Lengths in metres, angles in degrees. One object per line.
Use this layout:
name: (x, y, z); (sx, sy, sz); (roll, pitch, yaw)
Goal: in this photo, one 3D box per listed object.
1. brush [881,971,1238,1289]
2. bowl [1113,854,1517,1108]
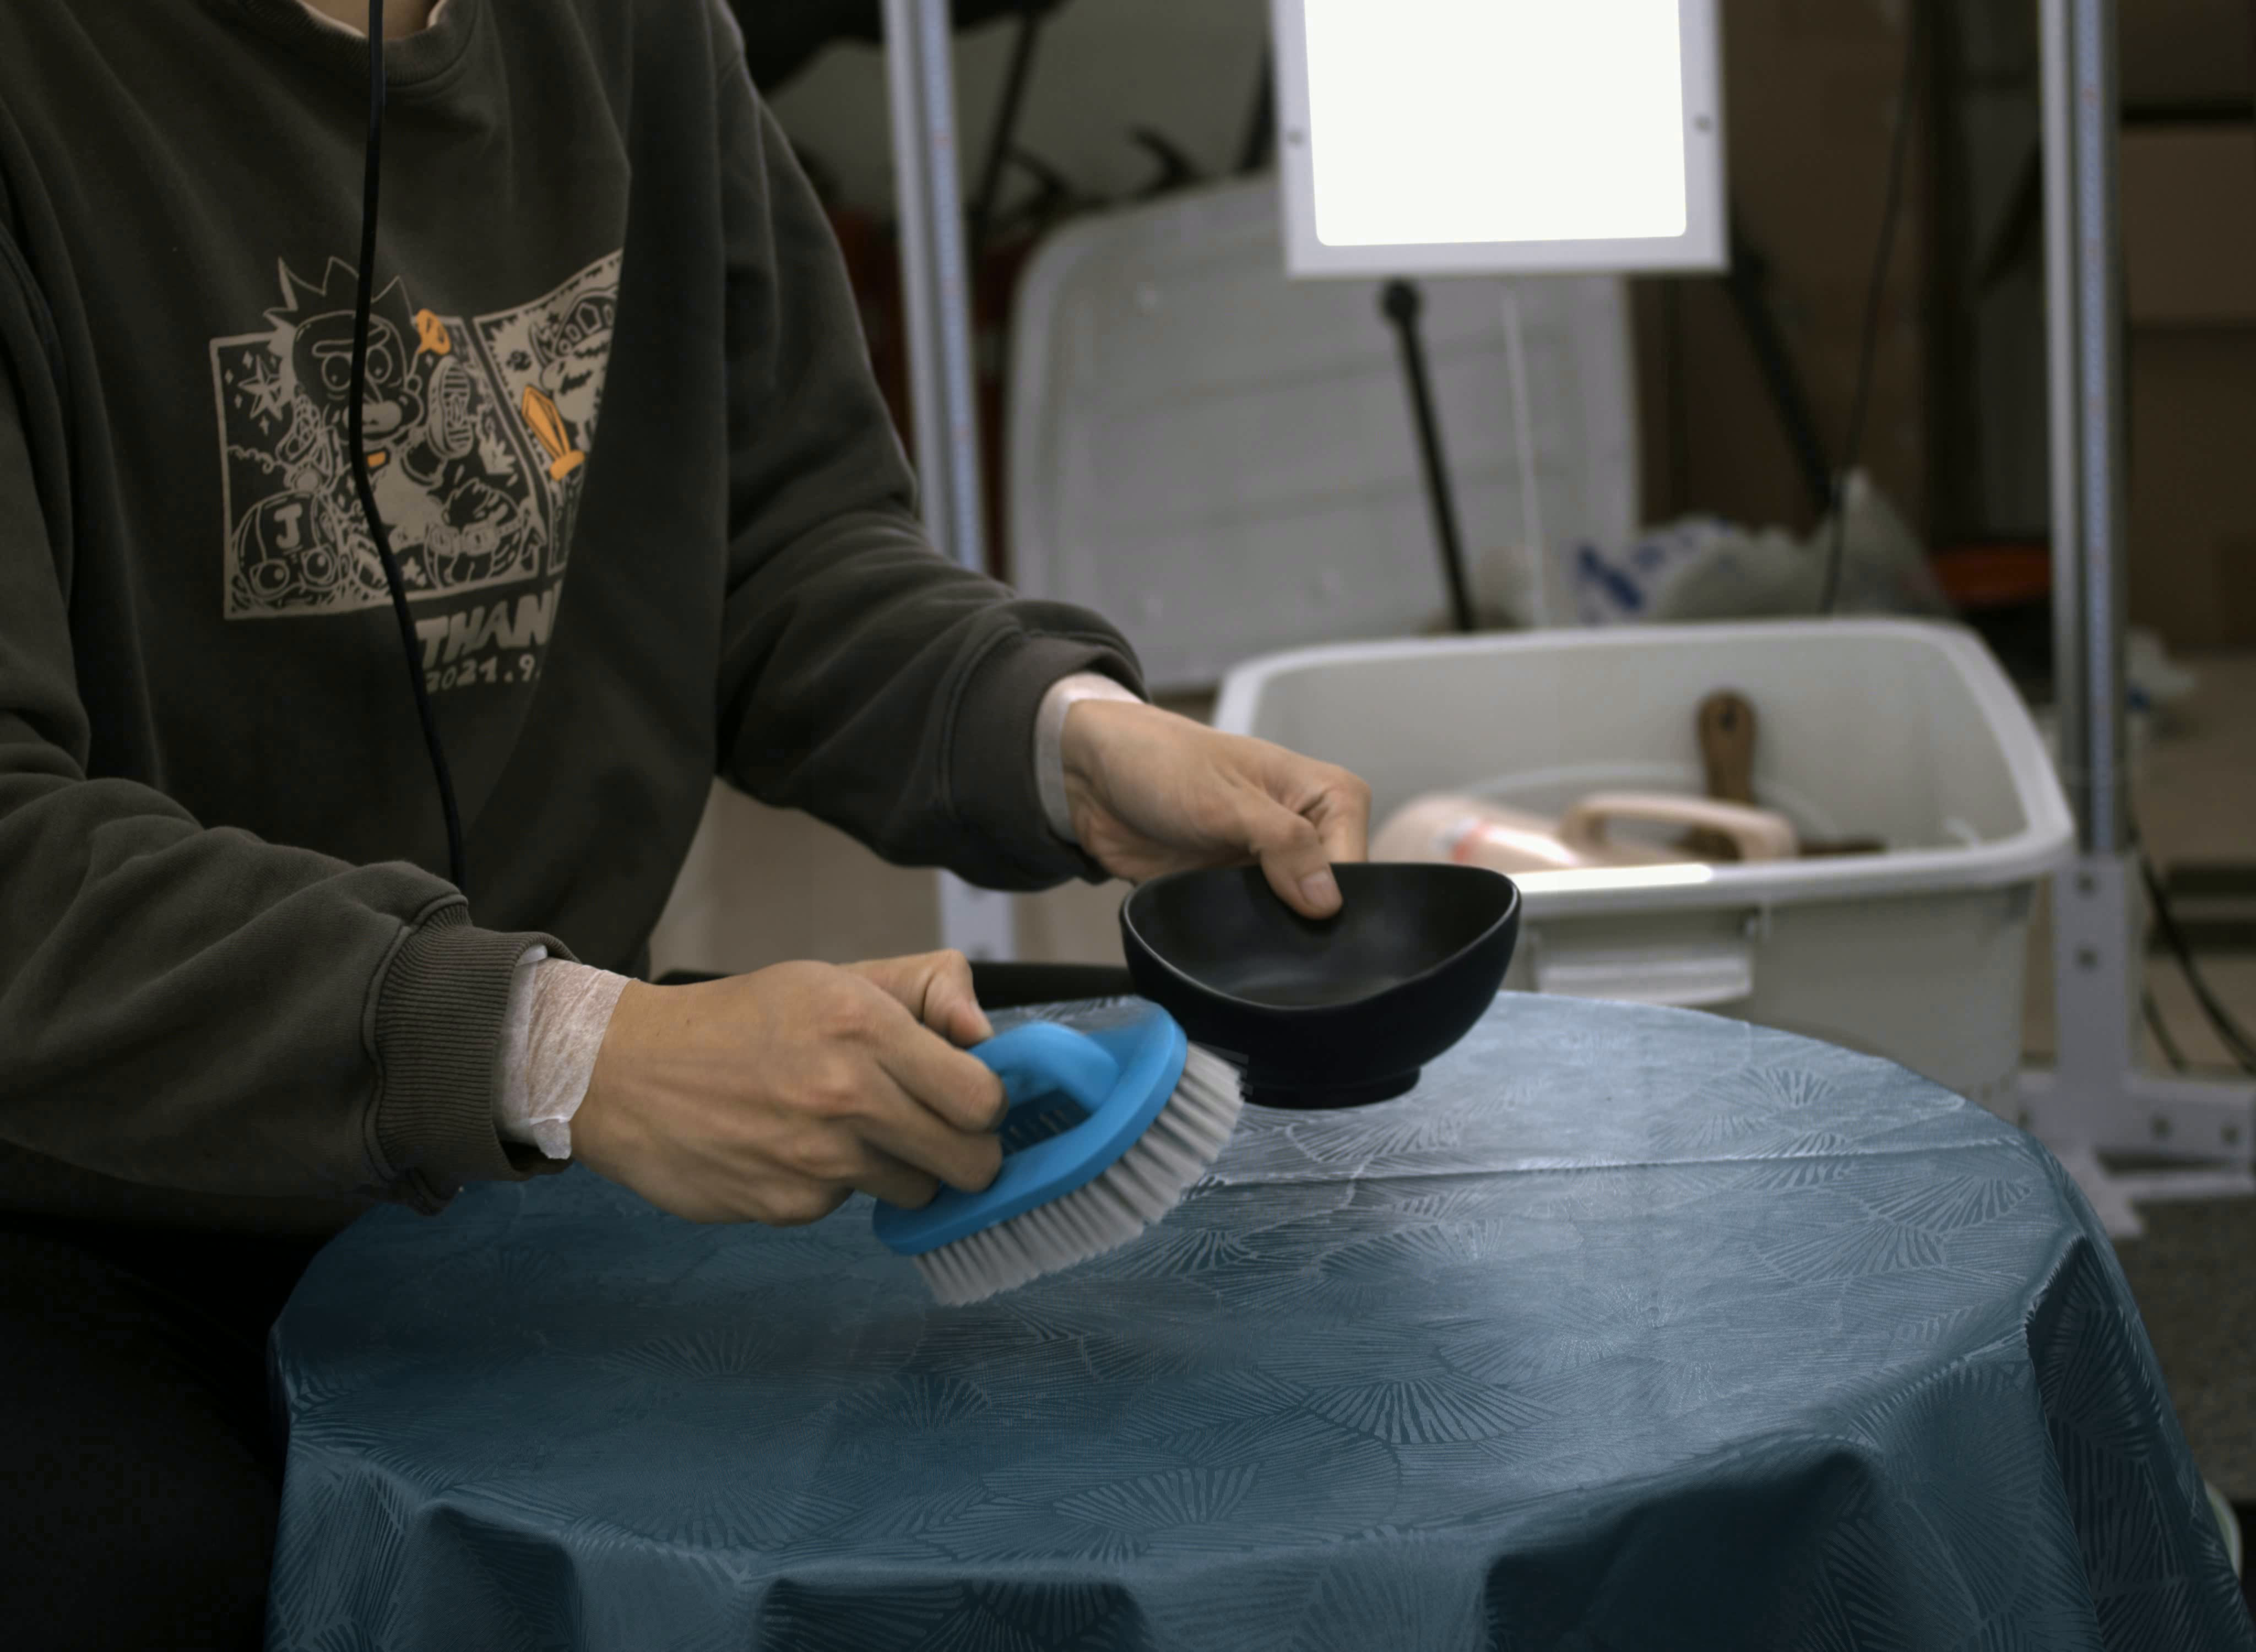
brush: (-0.034, 0.089, 1.733); (0.145, 0.063, 0.083); (-26, 32, 47)
bowl: (0.065, 0.055, 1.868); (0.138, 0.067, 0.169); (-2, 14, 7)
